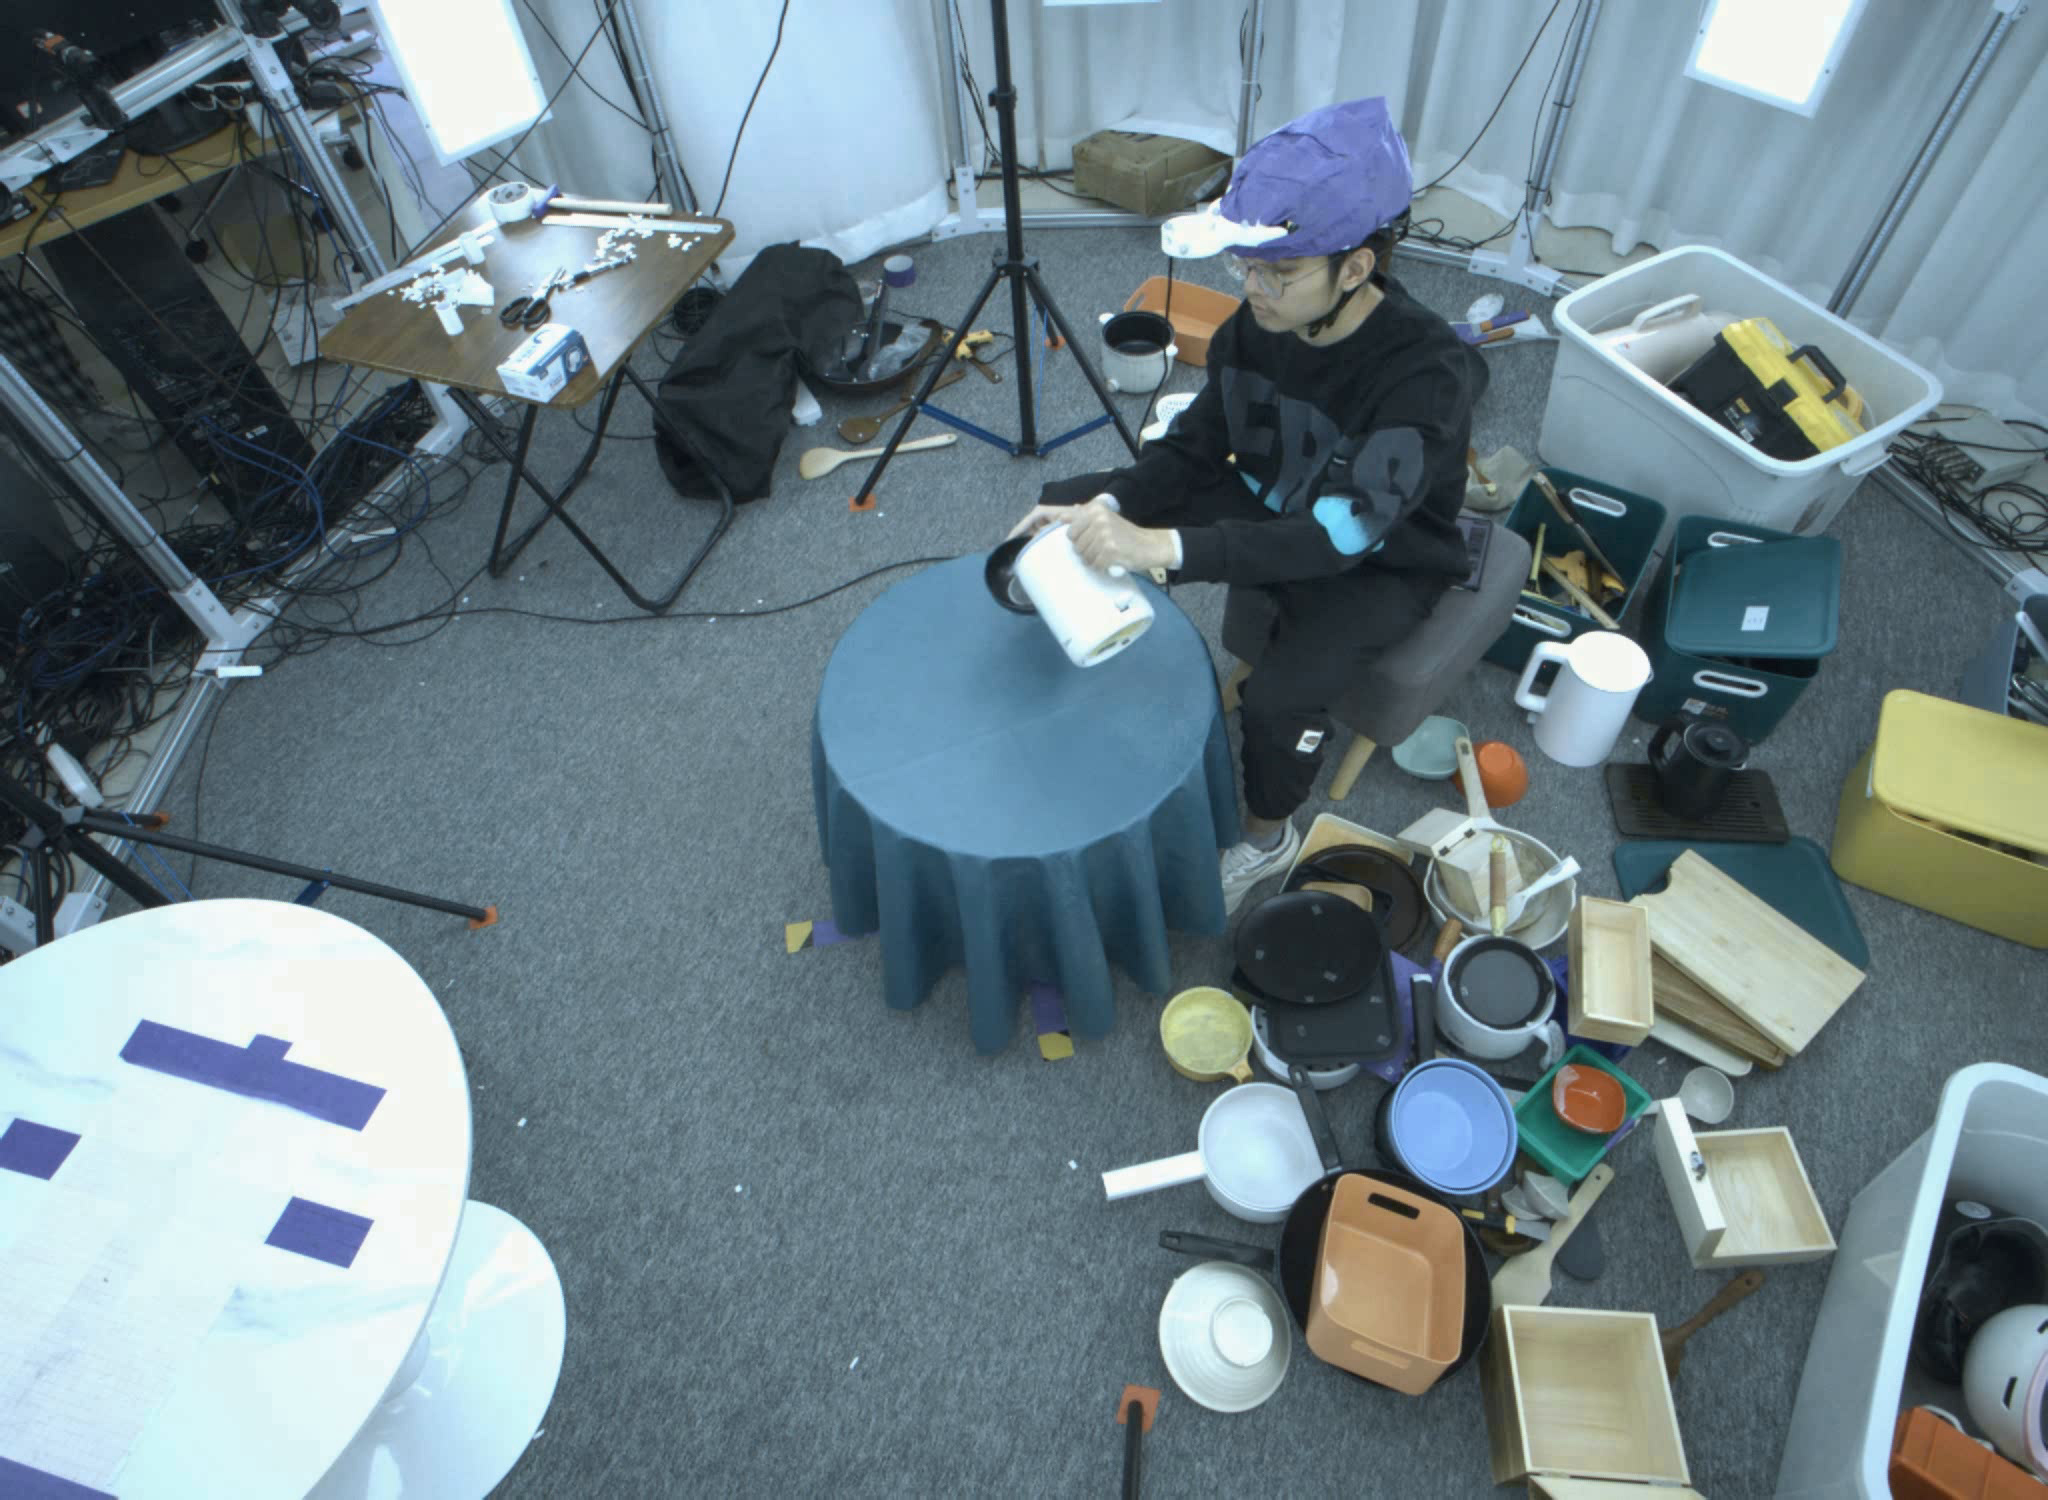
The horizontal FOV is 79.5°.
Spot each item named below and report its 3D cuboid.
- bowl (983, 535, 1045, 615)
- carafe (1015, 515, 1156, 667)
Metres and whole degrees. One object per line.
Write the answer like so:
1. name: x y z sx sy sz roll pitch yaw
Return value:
1. bowl: 0.009 -0.251 1.823 0.140 0.050 0.138 1 60 0
2. carafe: 0.088 -0.224 1.649 0.133 0.190 0.182 -30 83 -25
